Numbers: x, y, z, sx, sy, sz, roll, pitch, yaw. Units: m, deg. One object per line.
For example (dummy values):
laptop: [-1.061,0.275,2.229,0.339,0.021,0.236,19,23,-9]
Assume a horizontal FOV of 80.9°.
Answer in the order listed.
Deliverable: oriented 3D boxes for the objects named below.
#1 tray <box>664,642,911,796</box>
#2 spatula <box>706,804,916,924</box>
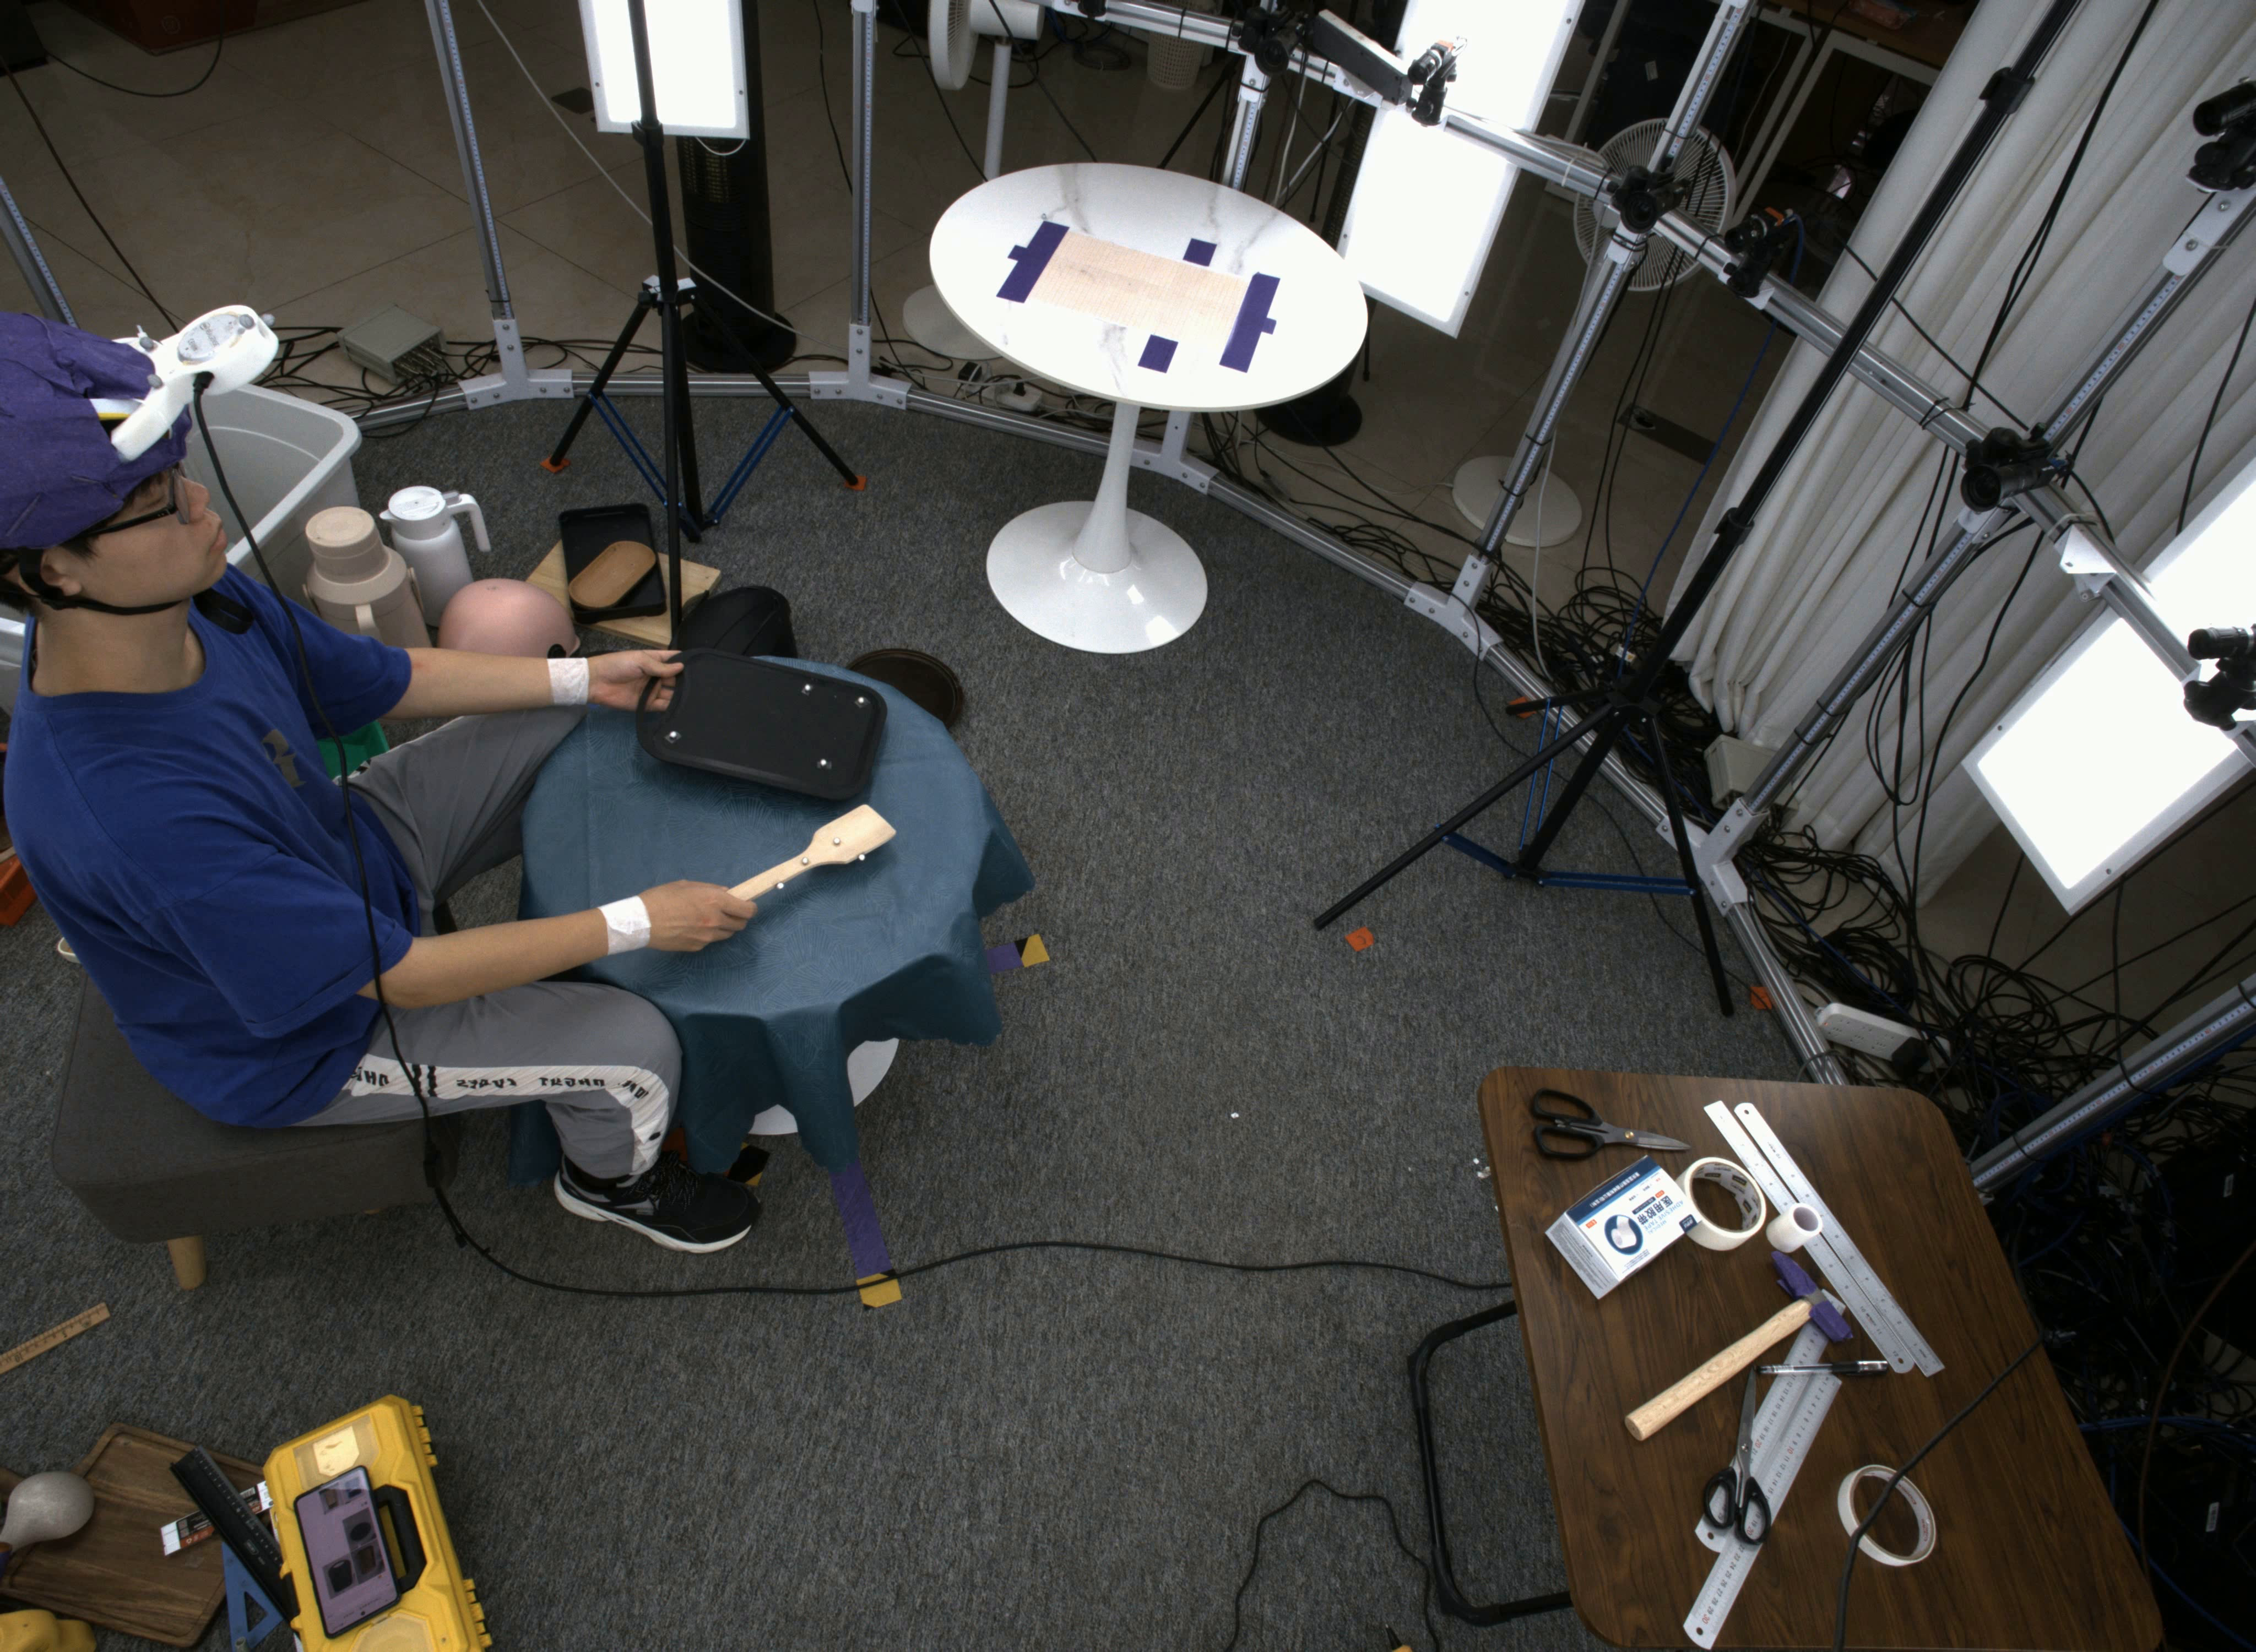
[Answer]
tray: [-0.471,-0.152,1.775,0.325,0.010,0.208,15,53,-9]
spatula: [-0.404,0.050,1.649,0.294,0.011,0.070,-30,60,-35]
